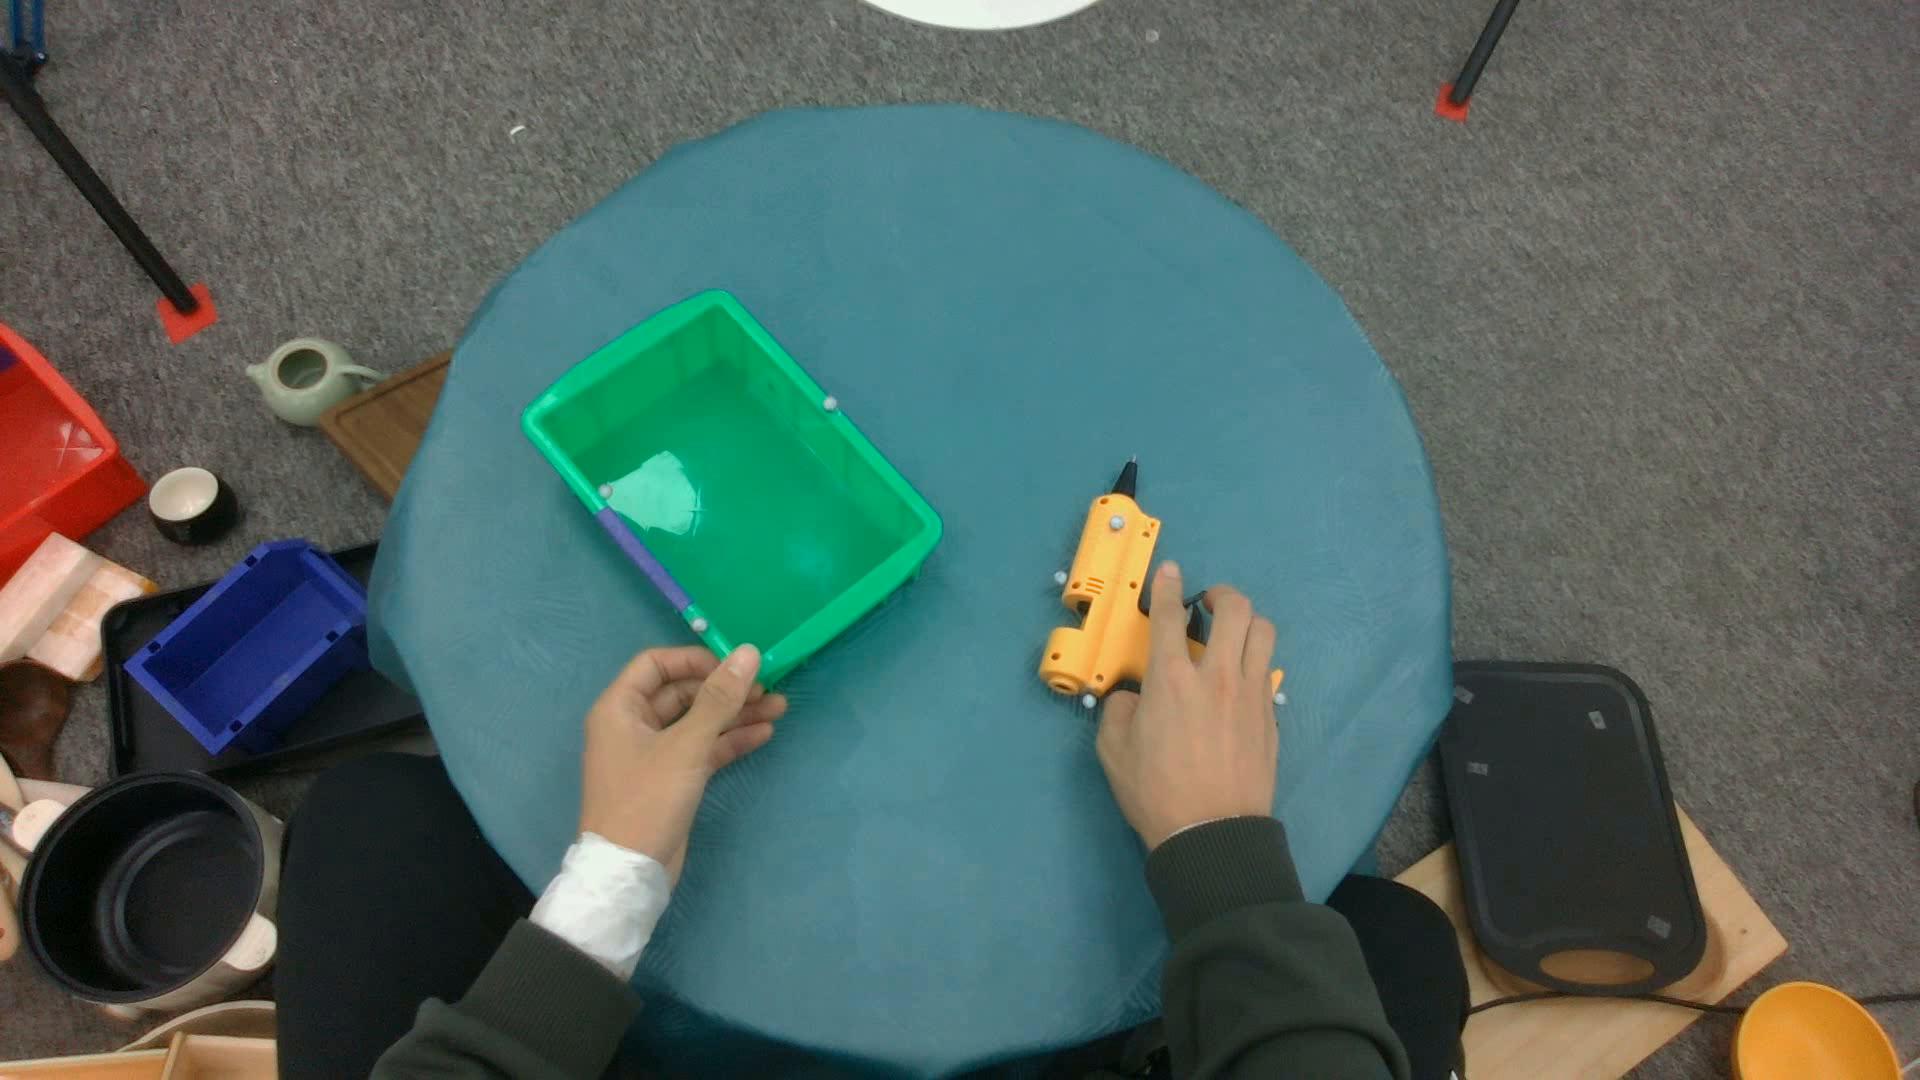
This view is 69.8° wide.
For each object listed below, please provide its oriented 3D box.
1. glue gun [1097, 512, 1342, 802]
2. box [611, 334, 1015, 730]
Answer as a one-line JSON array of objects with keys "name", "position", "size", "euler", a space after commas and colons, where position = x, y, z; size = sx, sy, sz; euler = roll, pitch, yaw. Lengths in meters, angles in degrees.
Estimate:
[{"name": "glue gun", "position": [0.159, 0.059, 0.781], "size": [0.133, 0.031, 0.152], "euler": [17, 65, 4]}, {"name": "box", "position": [-0.082, -0.003, 0.777], "size": [0.139, 0.065, 0.210], "euler": [-37, 73, -16]}]
